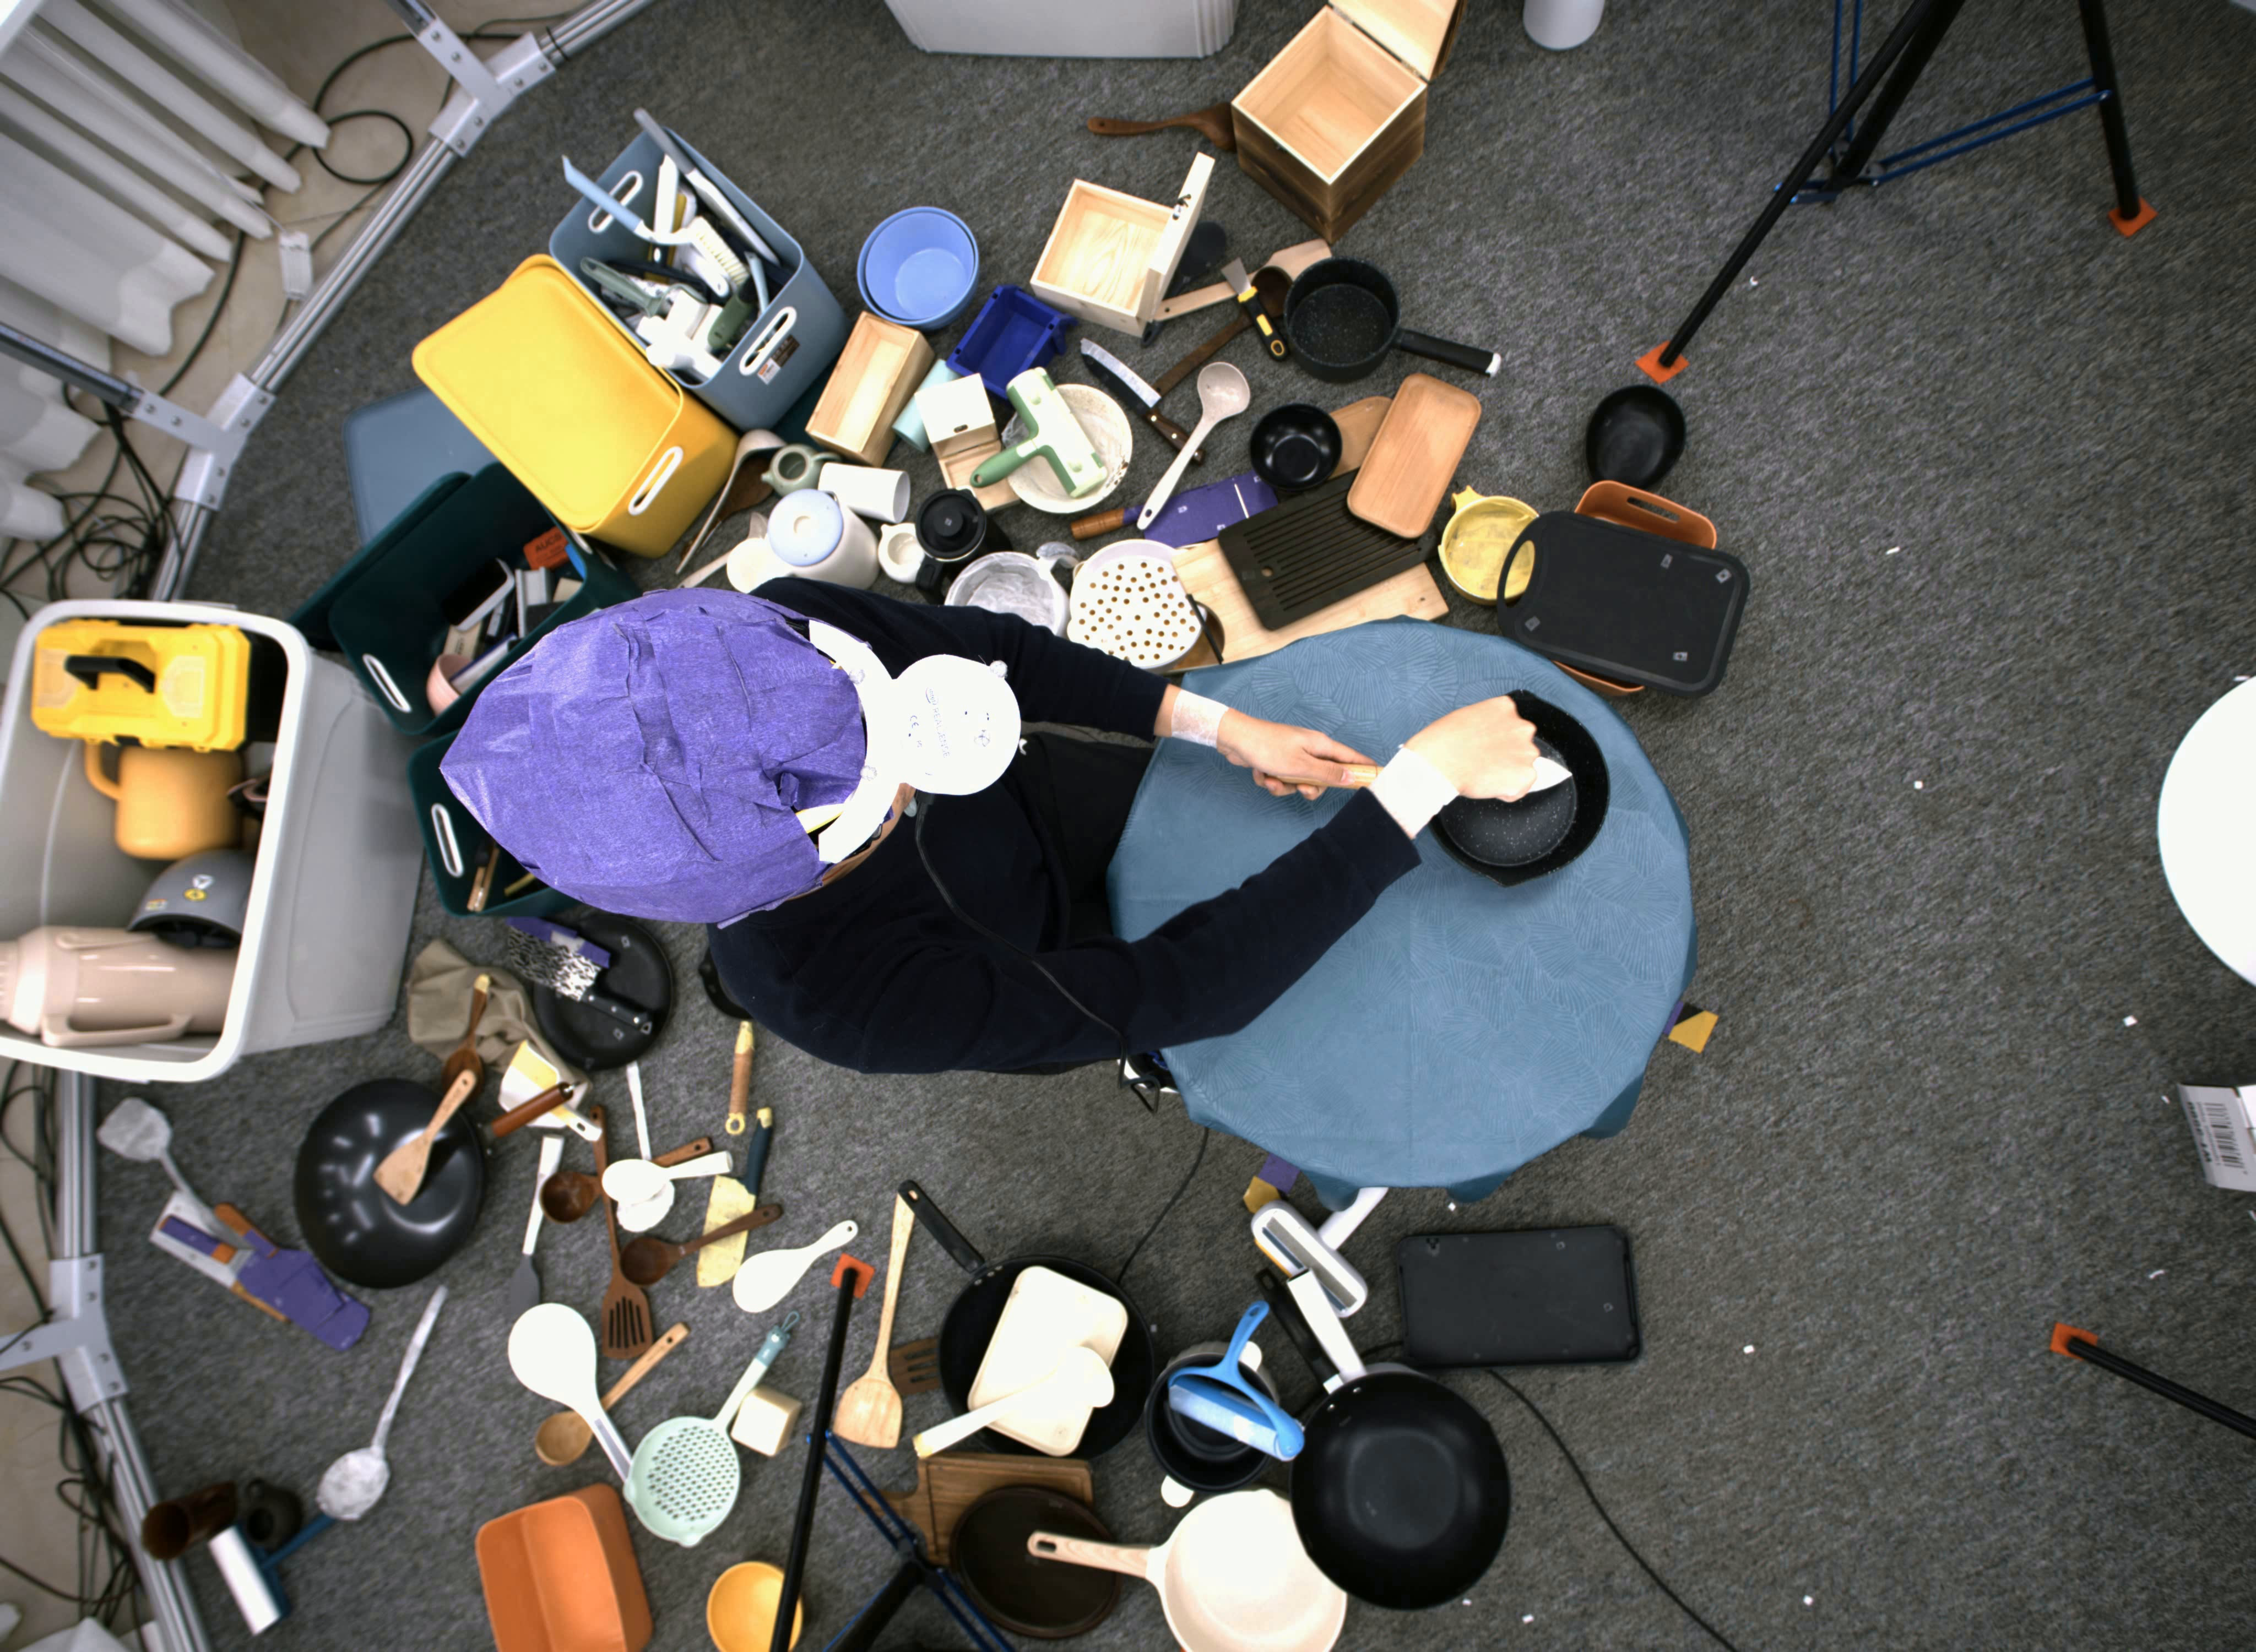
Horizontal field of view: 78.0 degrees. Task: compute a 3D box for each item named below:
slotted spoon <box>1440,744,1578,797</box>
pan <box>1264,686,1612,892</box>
[{"bbox_3d":[0.345,-0.060,1.269,0.137,0.347,0.050,10,89,18],"label":"slotted spoon"},{"bbox_3d":[0.311,-0.041,1.404,0.344,0.108,0.207,3,88,9],"label":"pan"}]
